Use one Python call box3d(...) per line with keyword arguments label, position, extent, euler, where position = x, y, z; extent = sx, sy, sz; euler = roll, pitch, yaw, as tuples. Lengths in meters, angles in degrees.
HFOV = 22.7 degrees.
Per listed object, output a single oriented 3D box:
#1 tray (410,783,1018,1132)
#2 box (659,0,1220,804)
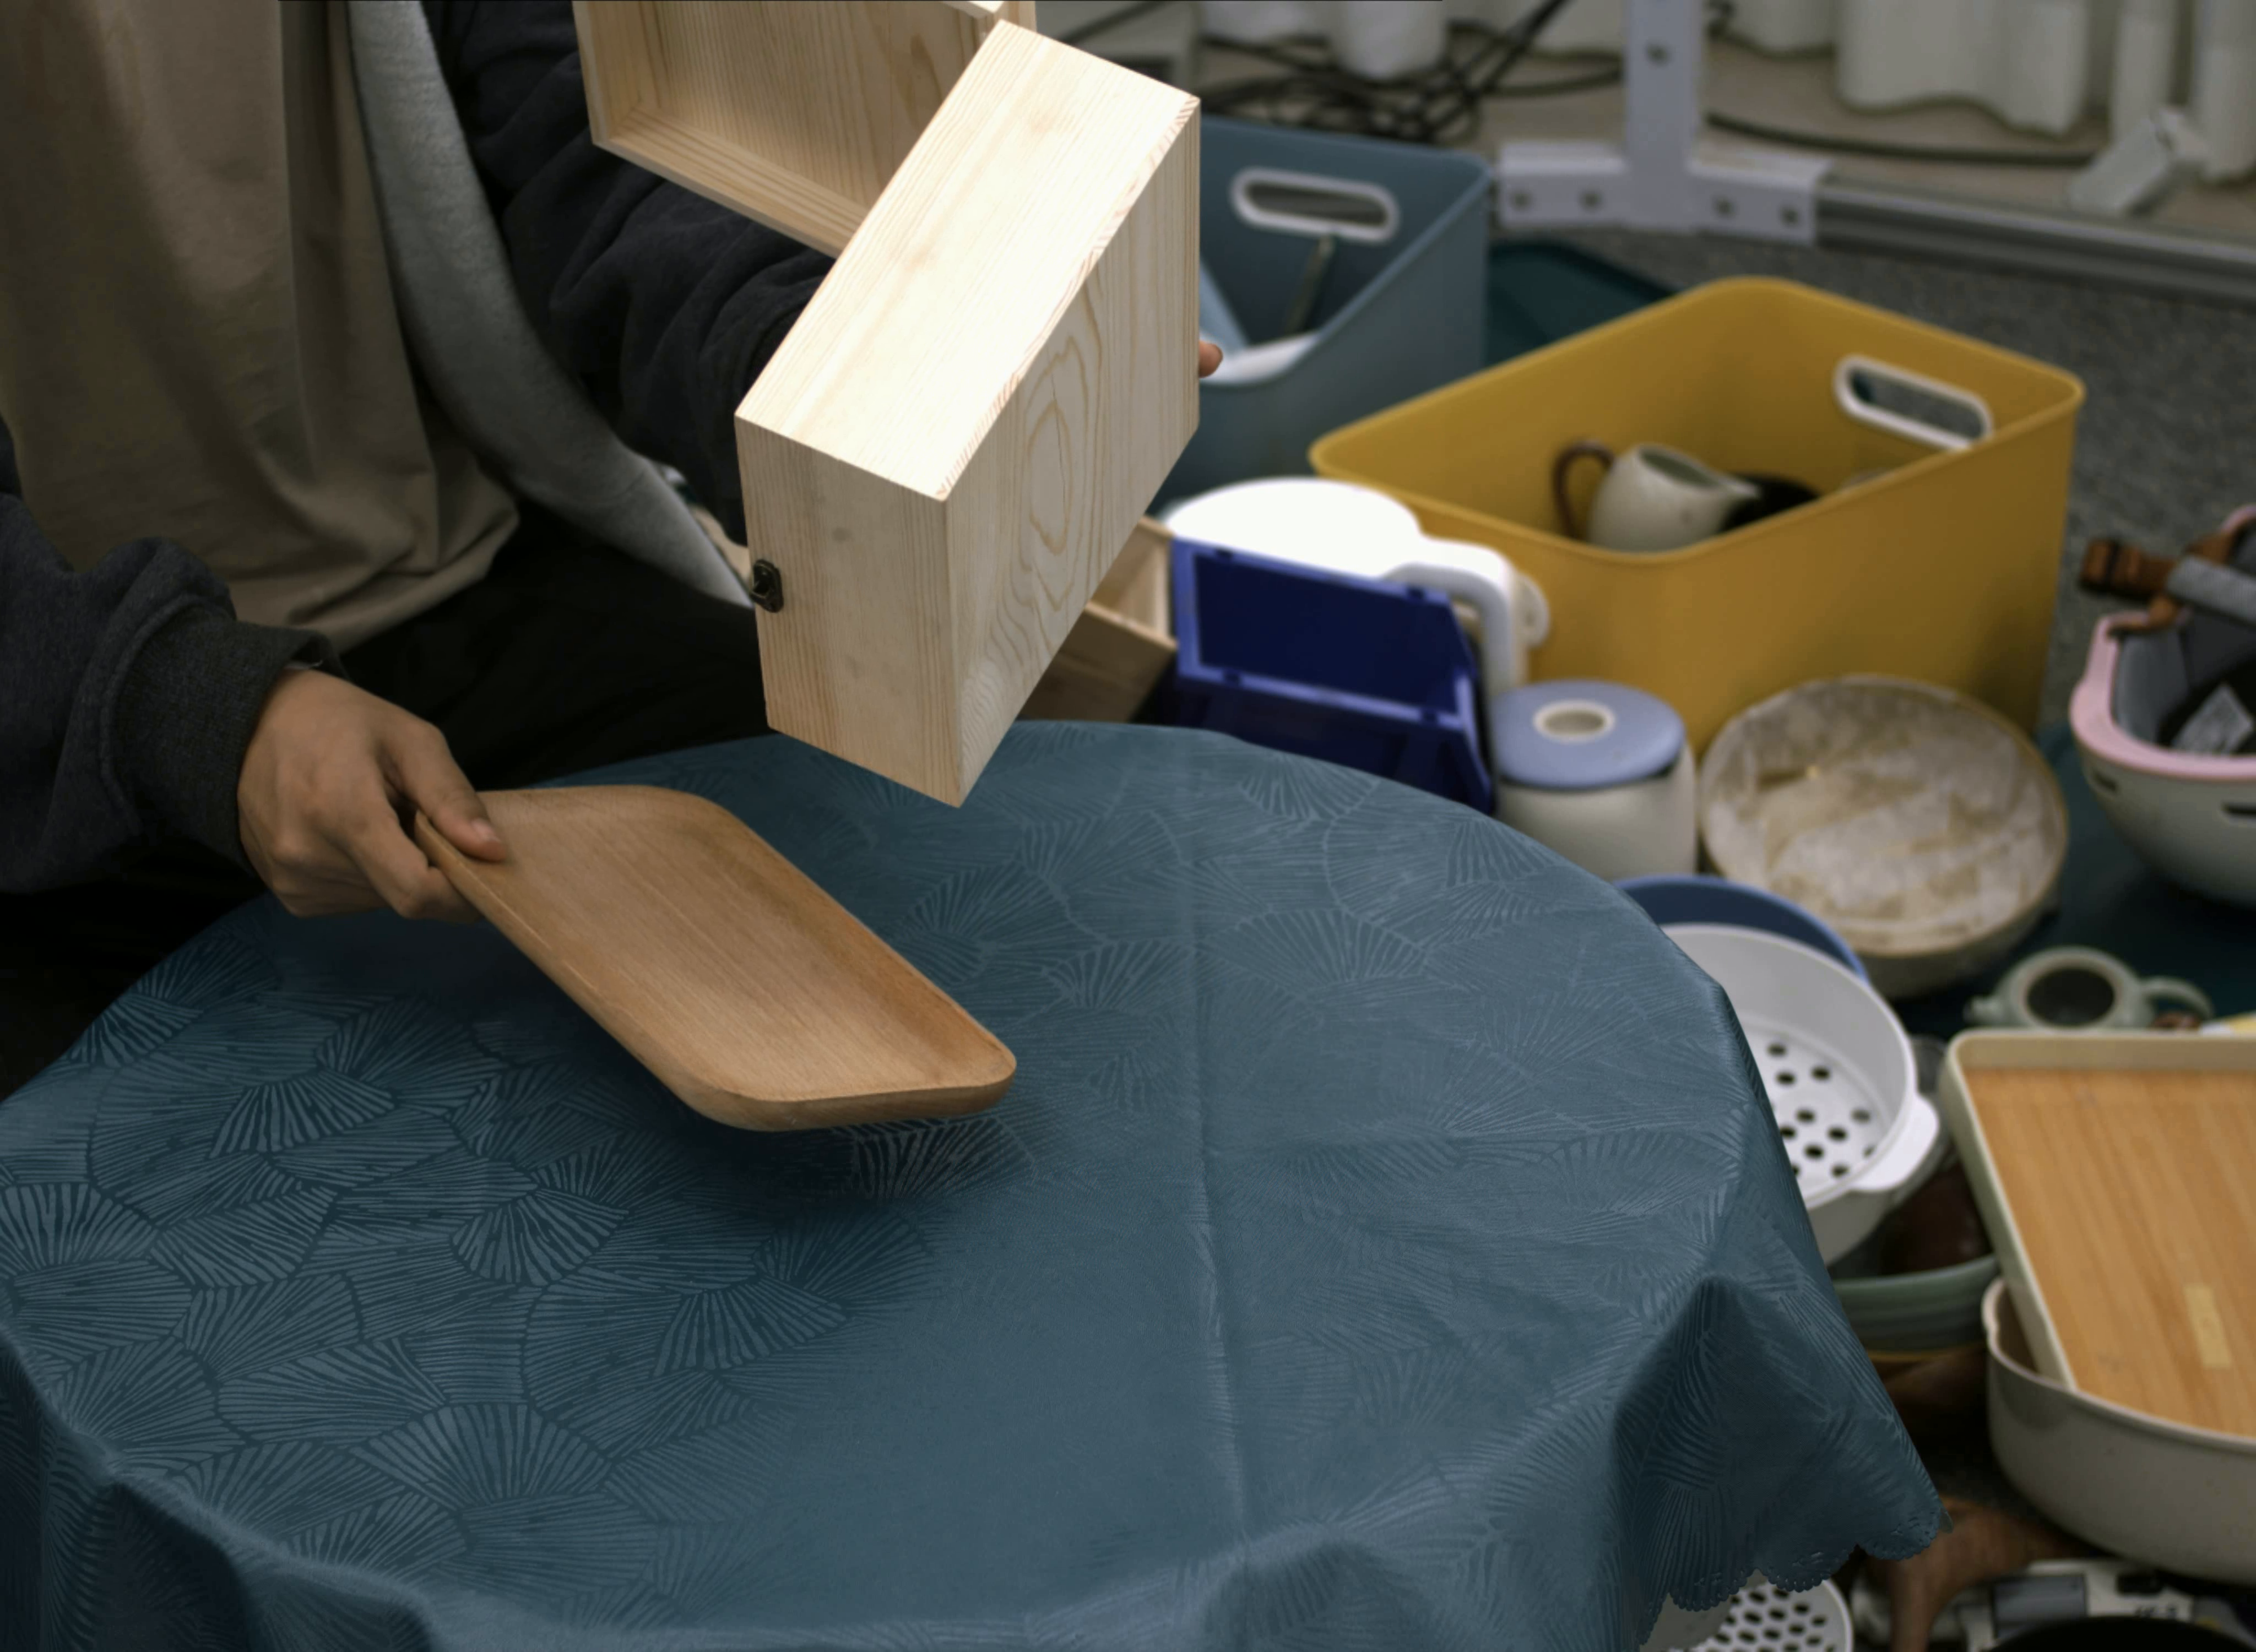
box3d(label="tray", position=(-0.146, 0.043, 1.930), extent=(0.131, 0.023, 0.252), euler=(1, 23, -35))
box3d(label="box", position=(-0.108, -0.194, 1.910), extent=(0.252, 0.179, 0.270), euler=(22, 58, 17))
